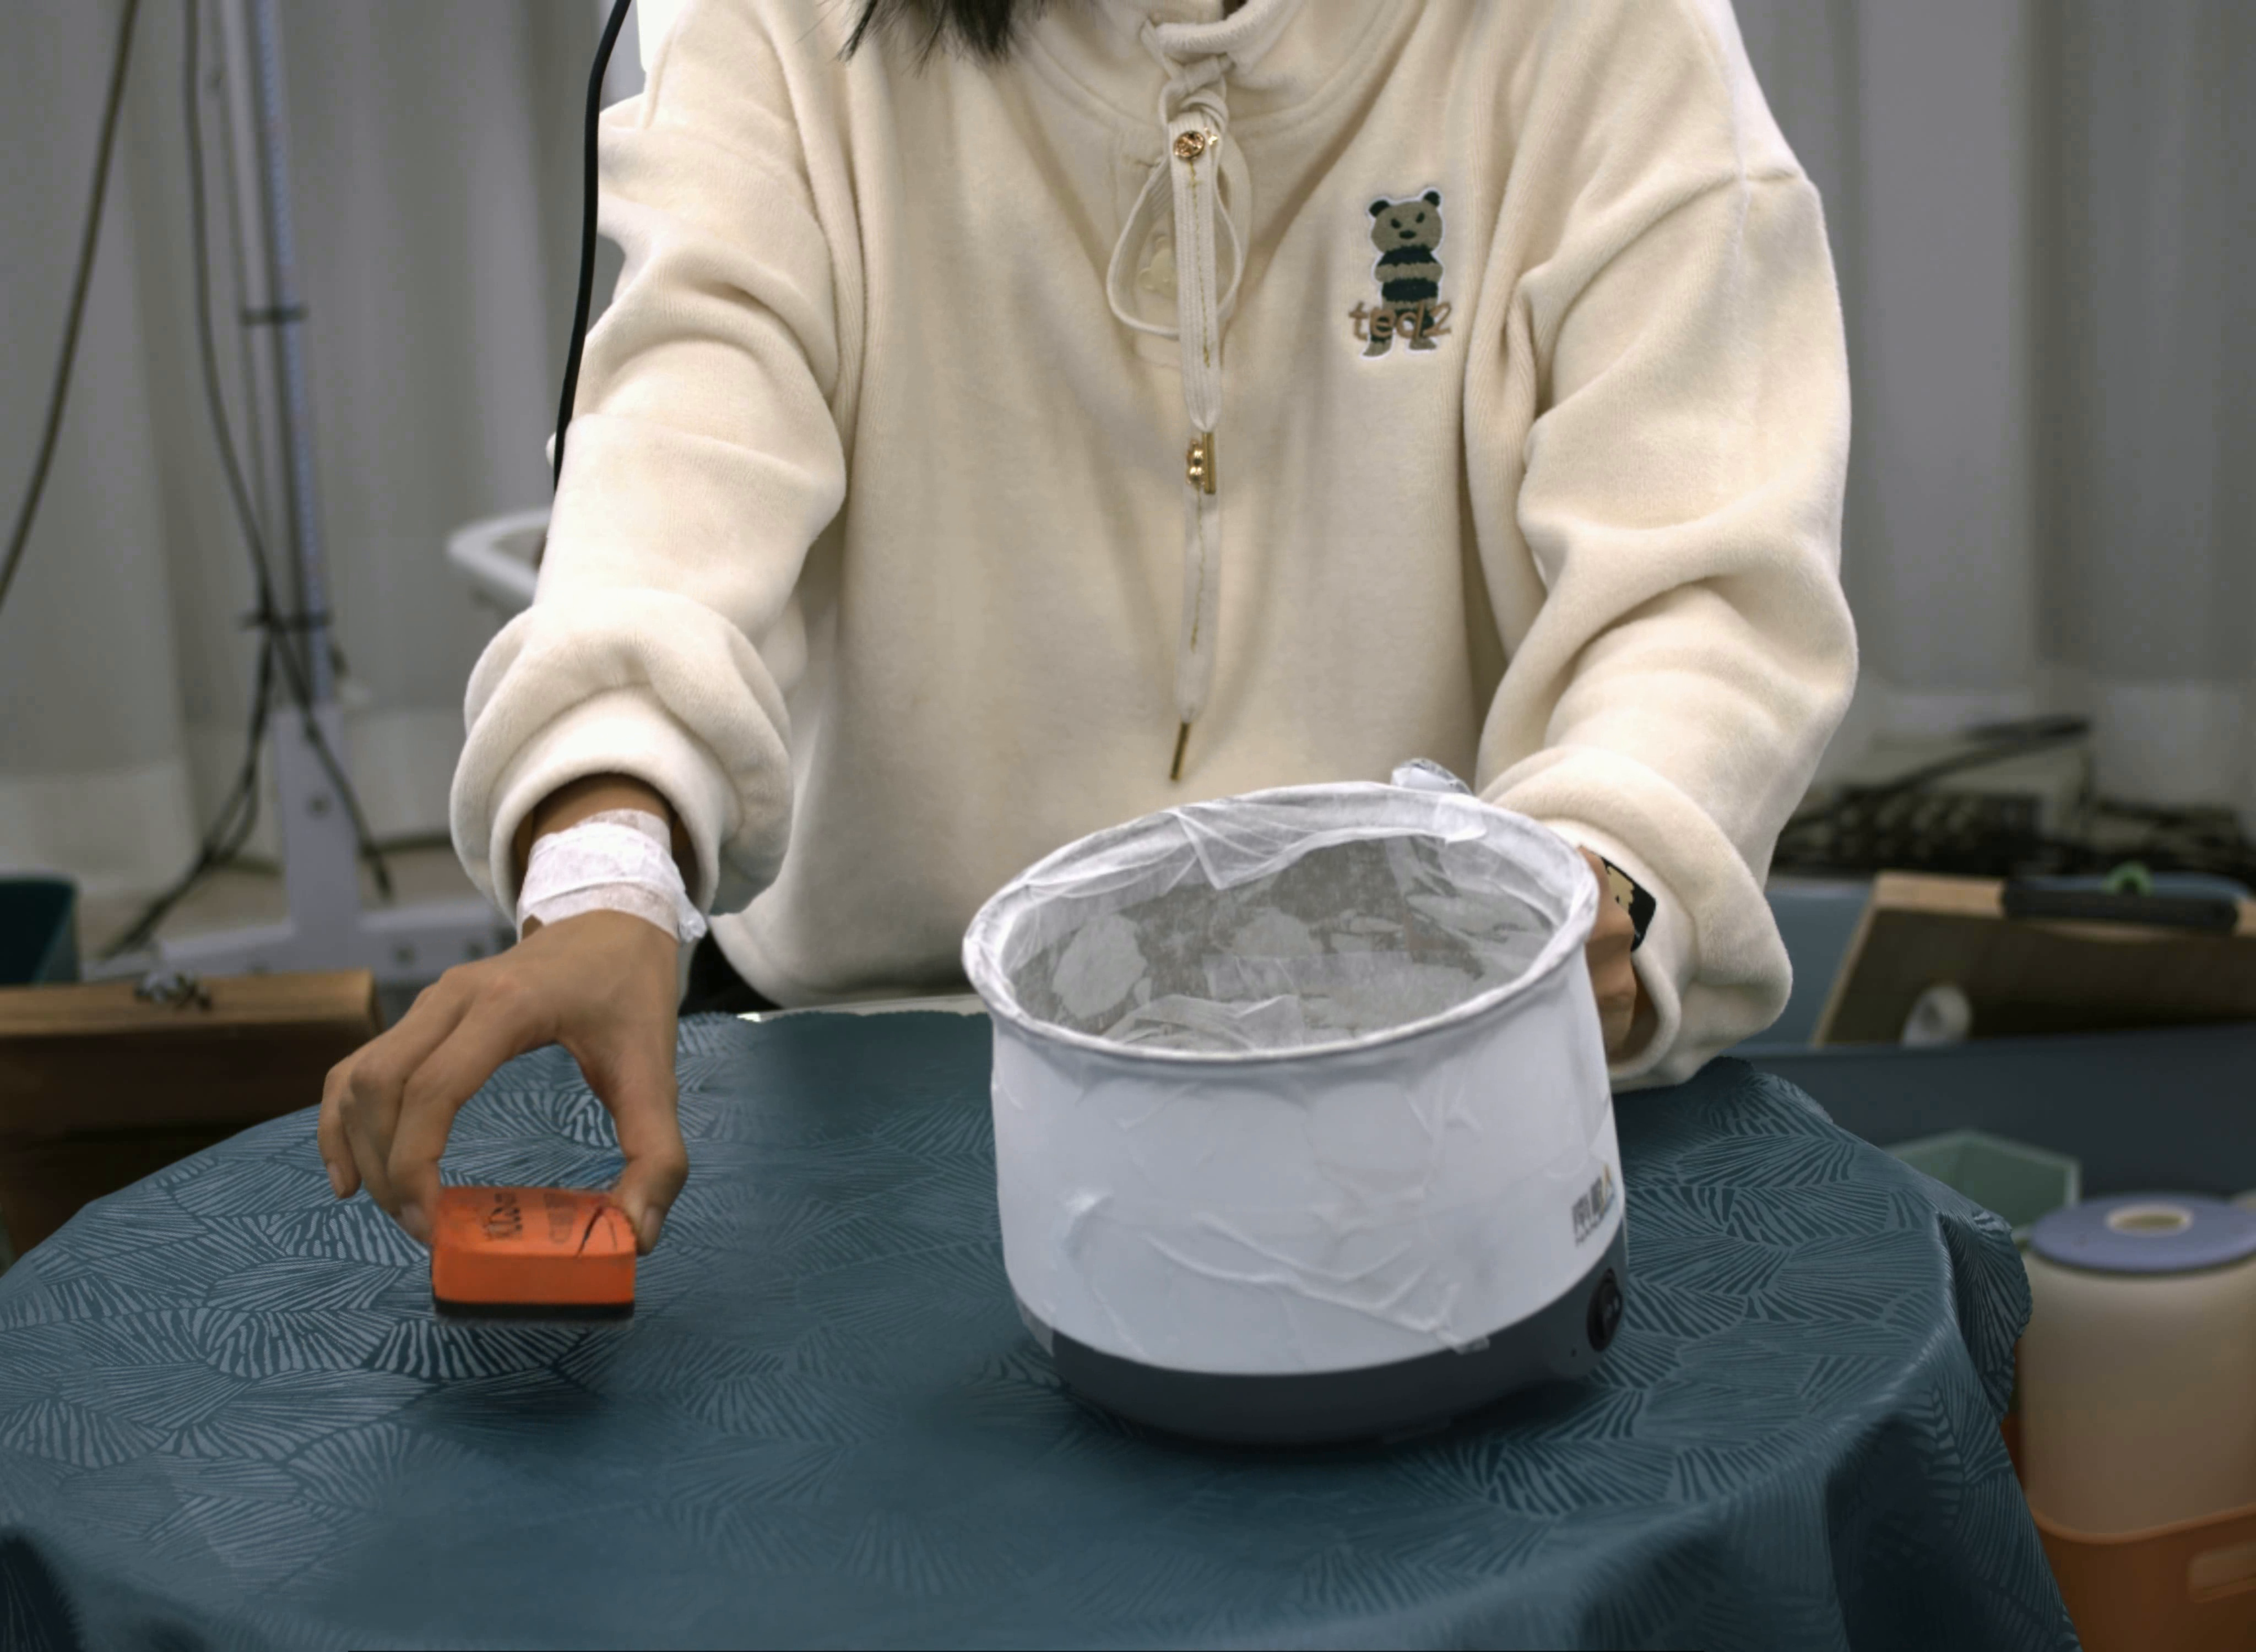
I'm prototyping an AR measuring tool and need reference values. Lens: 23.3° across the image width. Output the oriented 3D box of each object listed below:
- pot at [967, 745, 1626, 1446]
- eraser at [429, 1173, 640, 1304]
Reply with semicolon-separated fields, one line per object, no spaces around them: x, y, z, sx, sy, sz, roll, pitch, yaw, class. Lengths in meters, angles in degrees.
0.060;0.069;1.554;0.179;0.135;0.235;6;27;24;pot
-0.172;0.119;1.584;0.059;0.023;0.108;3;4;-8;eraser
